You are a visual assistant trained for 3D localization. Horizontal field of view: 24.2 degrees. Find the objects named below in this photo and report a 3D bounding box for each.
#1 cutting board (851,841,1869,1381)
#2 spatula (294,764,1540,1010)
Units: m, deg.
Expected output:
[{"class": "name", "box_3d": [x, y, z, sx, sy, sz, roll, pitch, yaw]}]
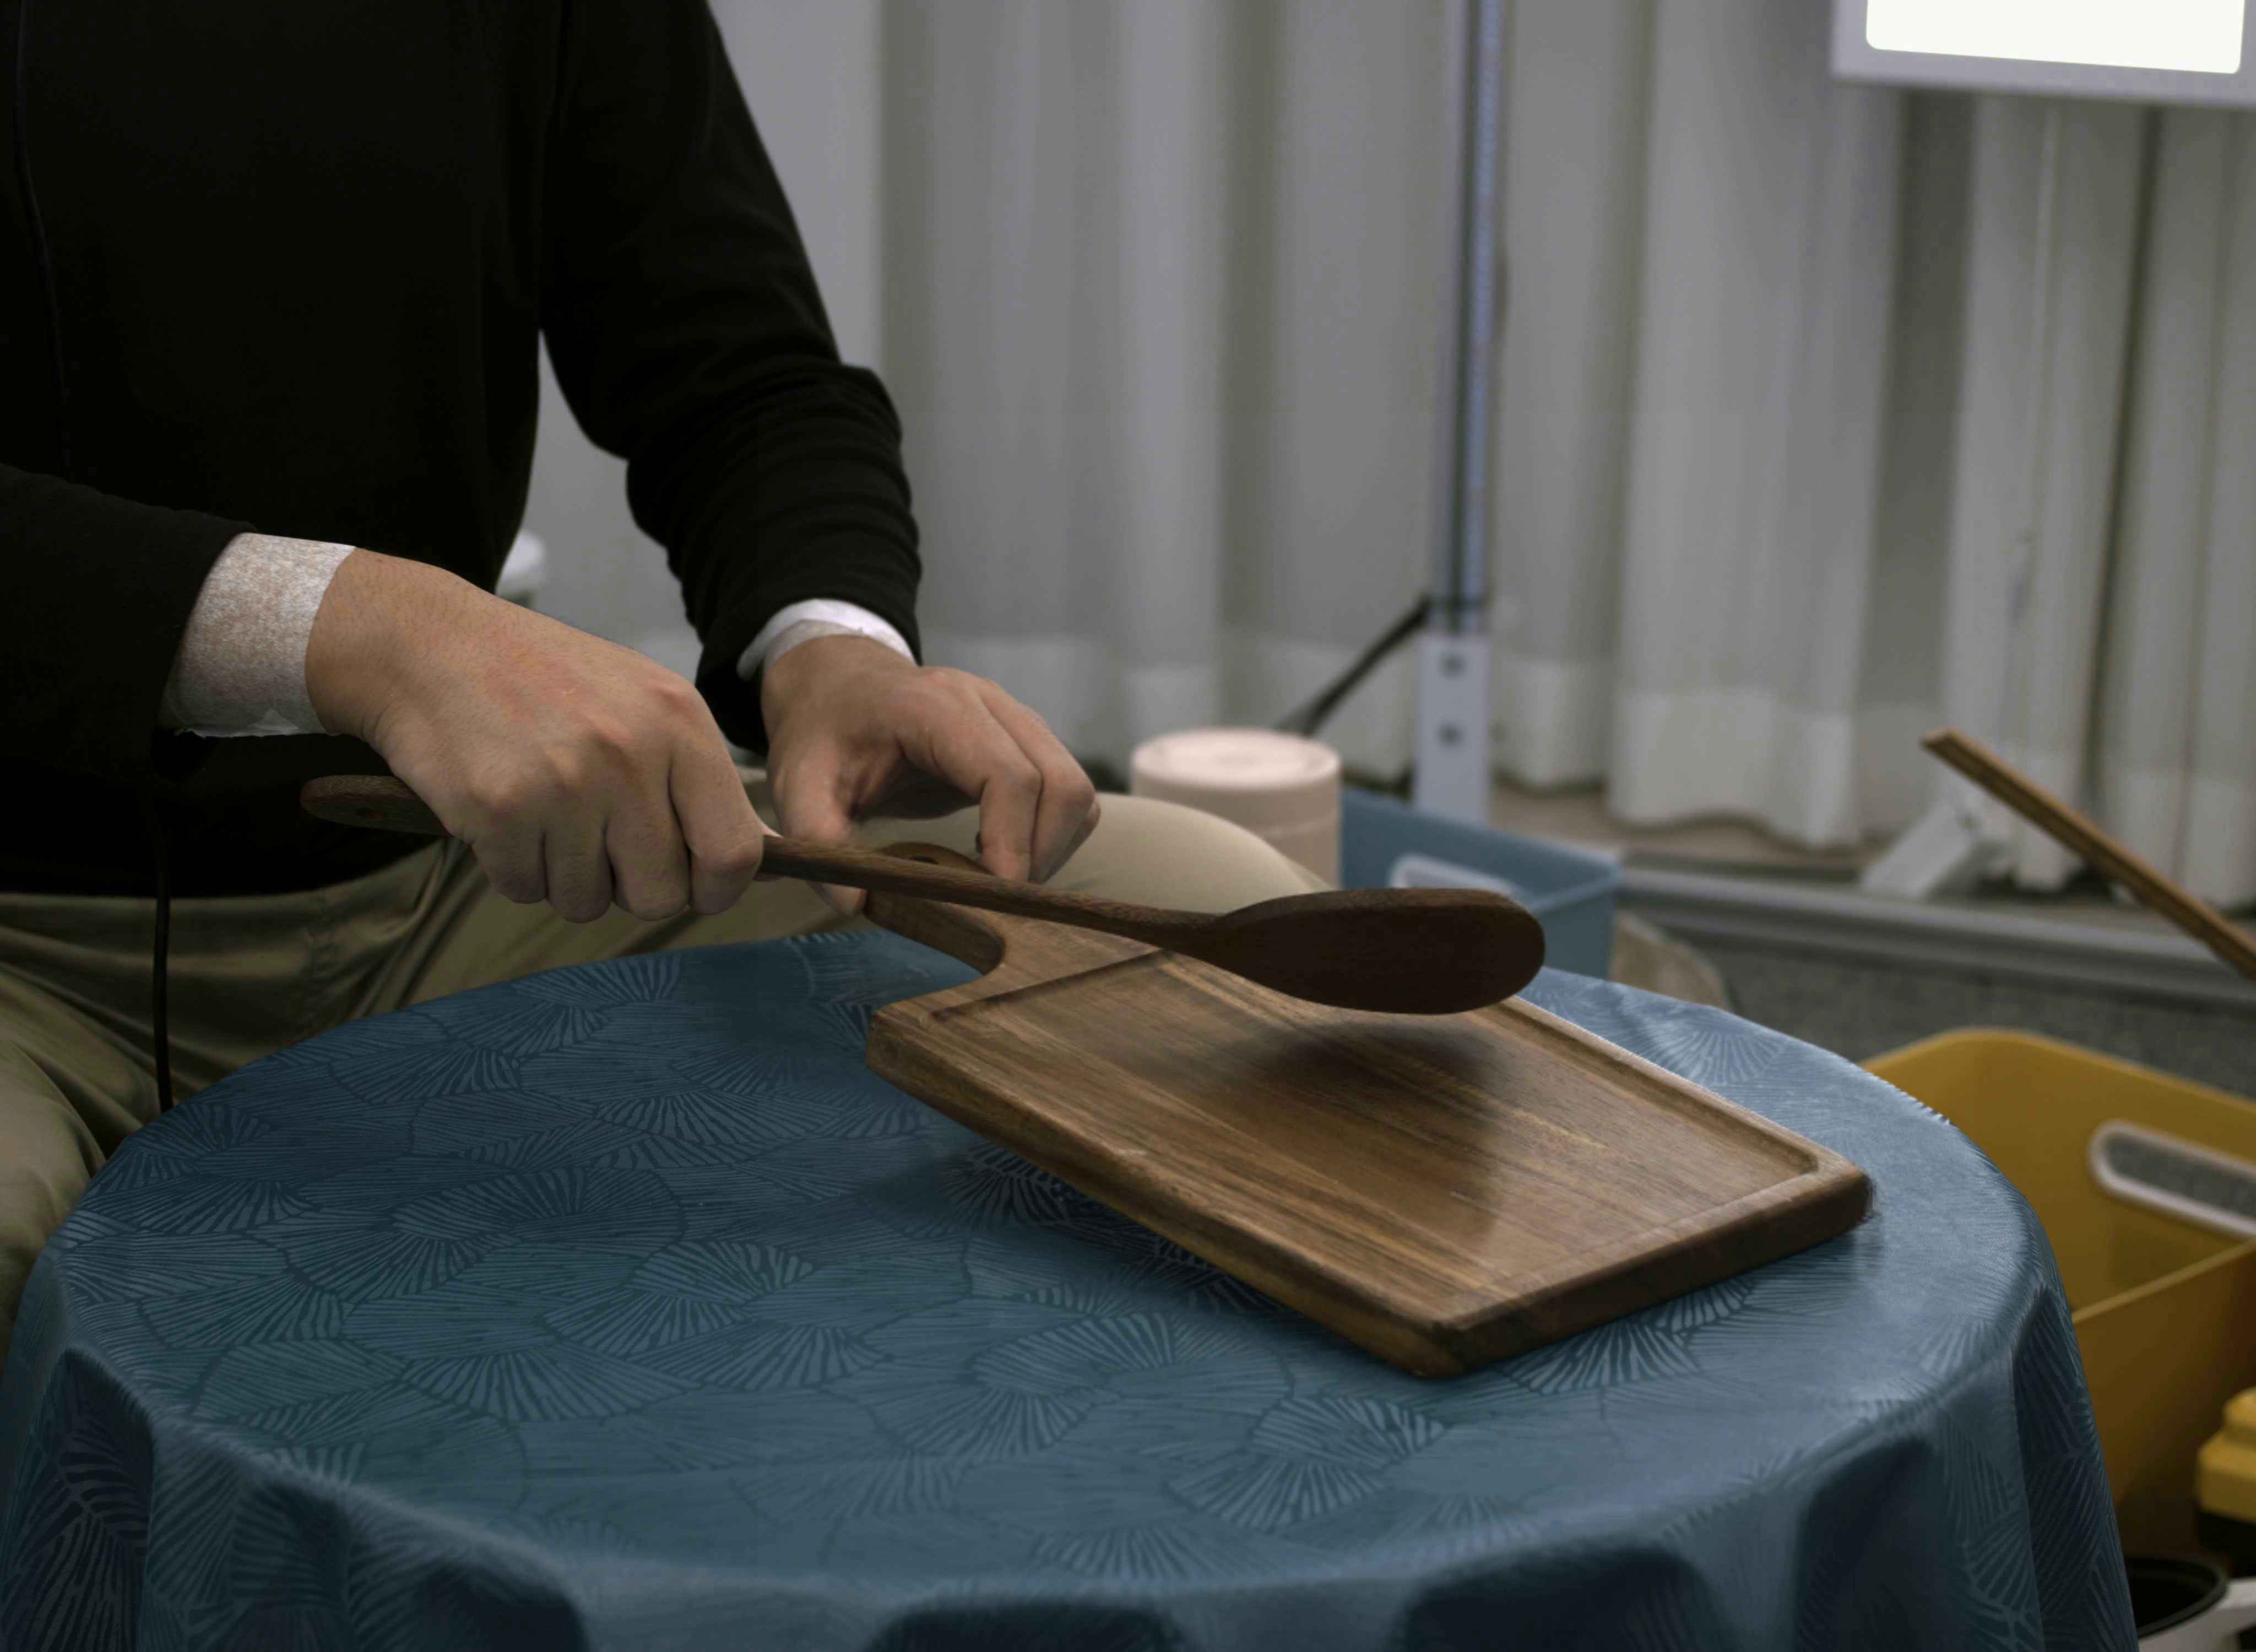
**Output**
[{"class": "cutting board", "box_3d": [0.038, 0.072, 1.636, 0.202, 0.023, 0.347, -14, 30, -43]}, {"class": "spatula", "box_3d": [-0.064, 0.016, 1.616, 0.385, 0.016, 0.096, 9, -22, -1]}]
